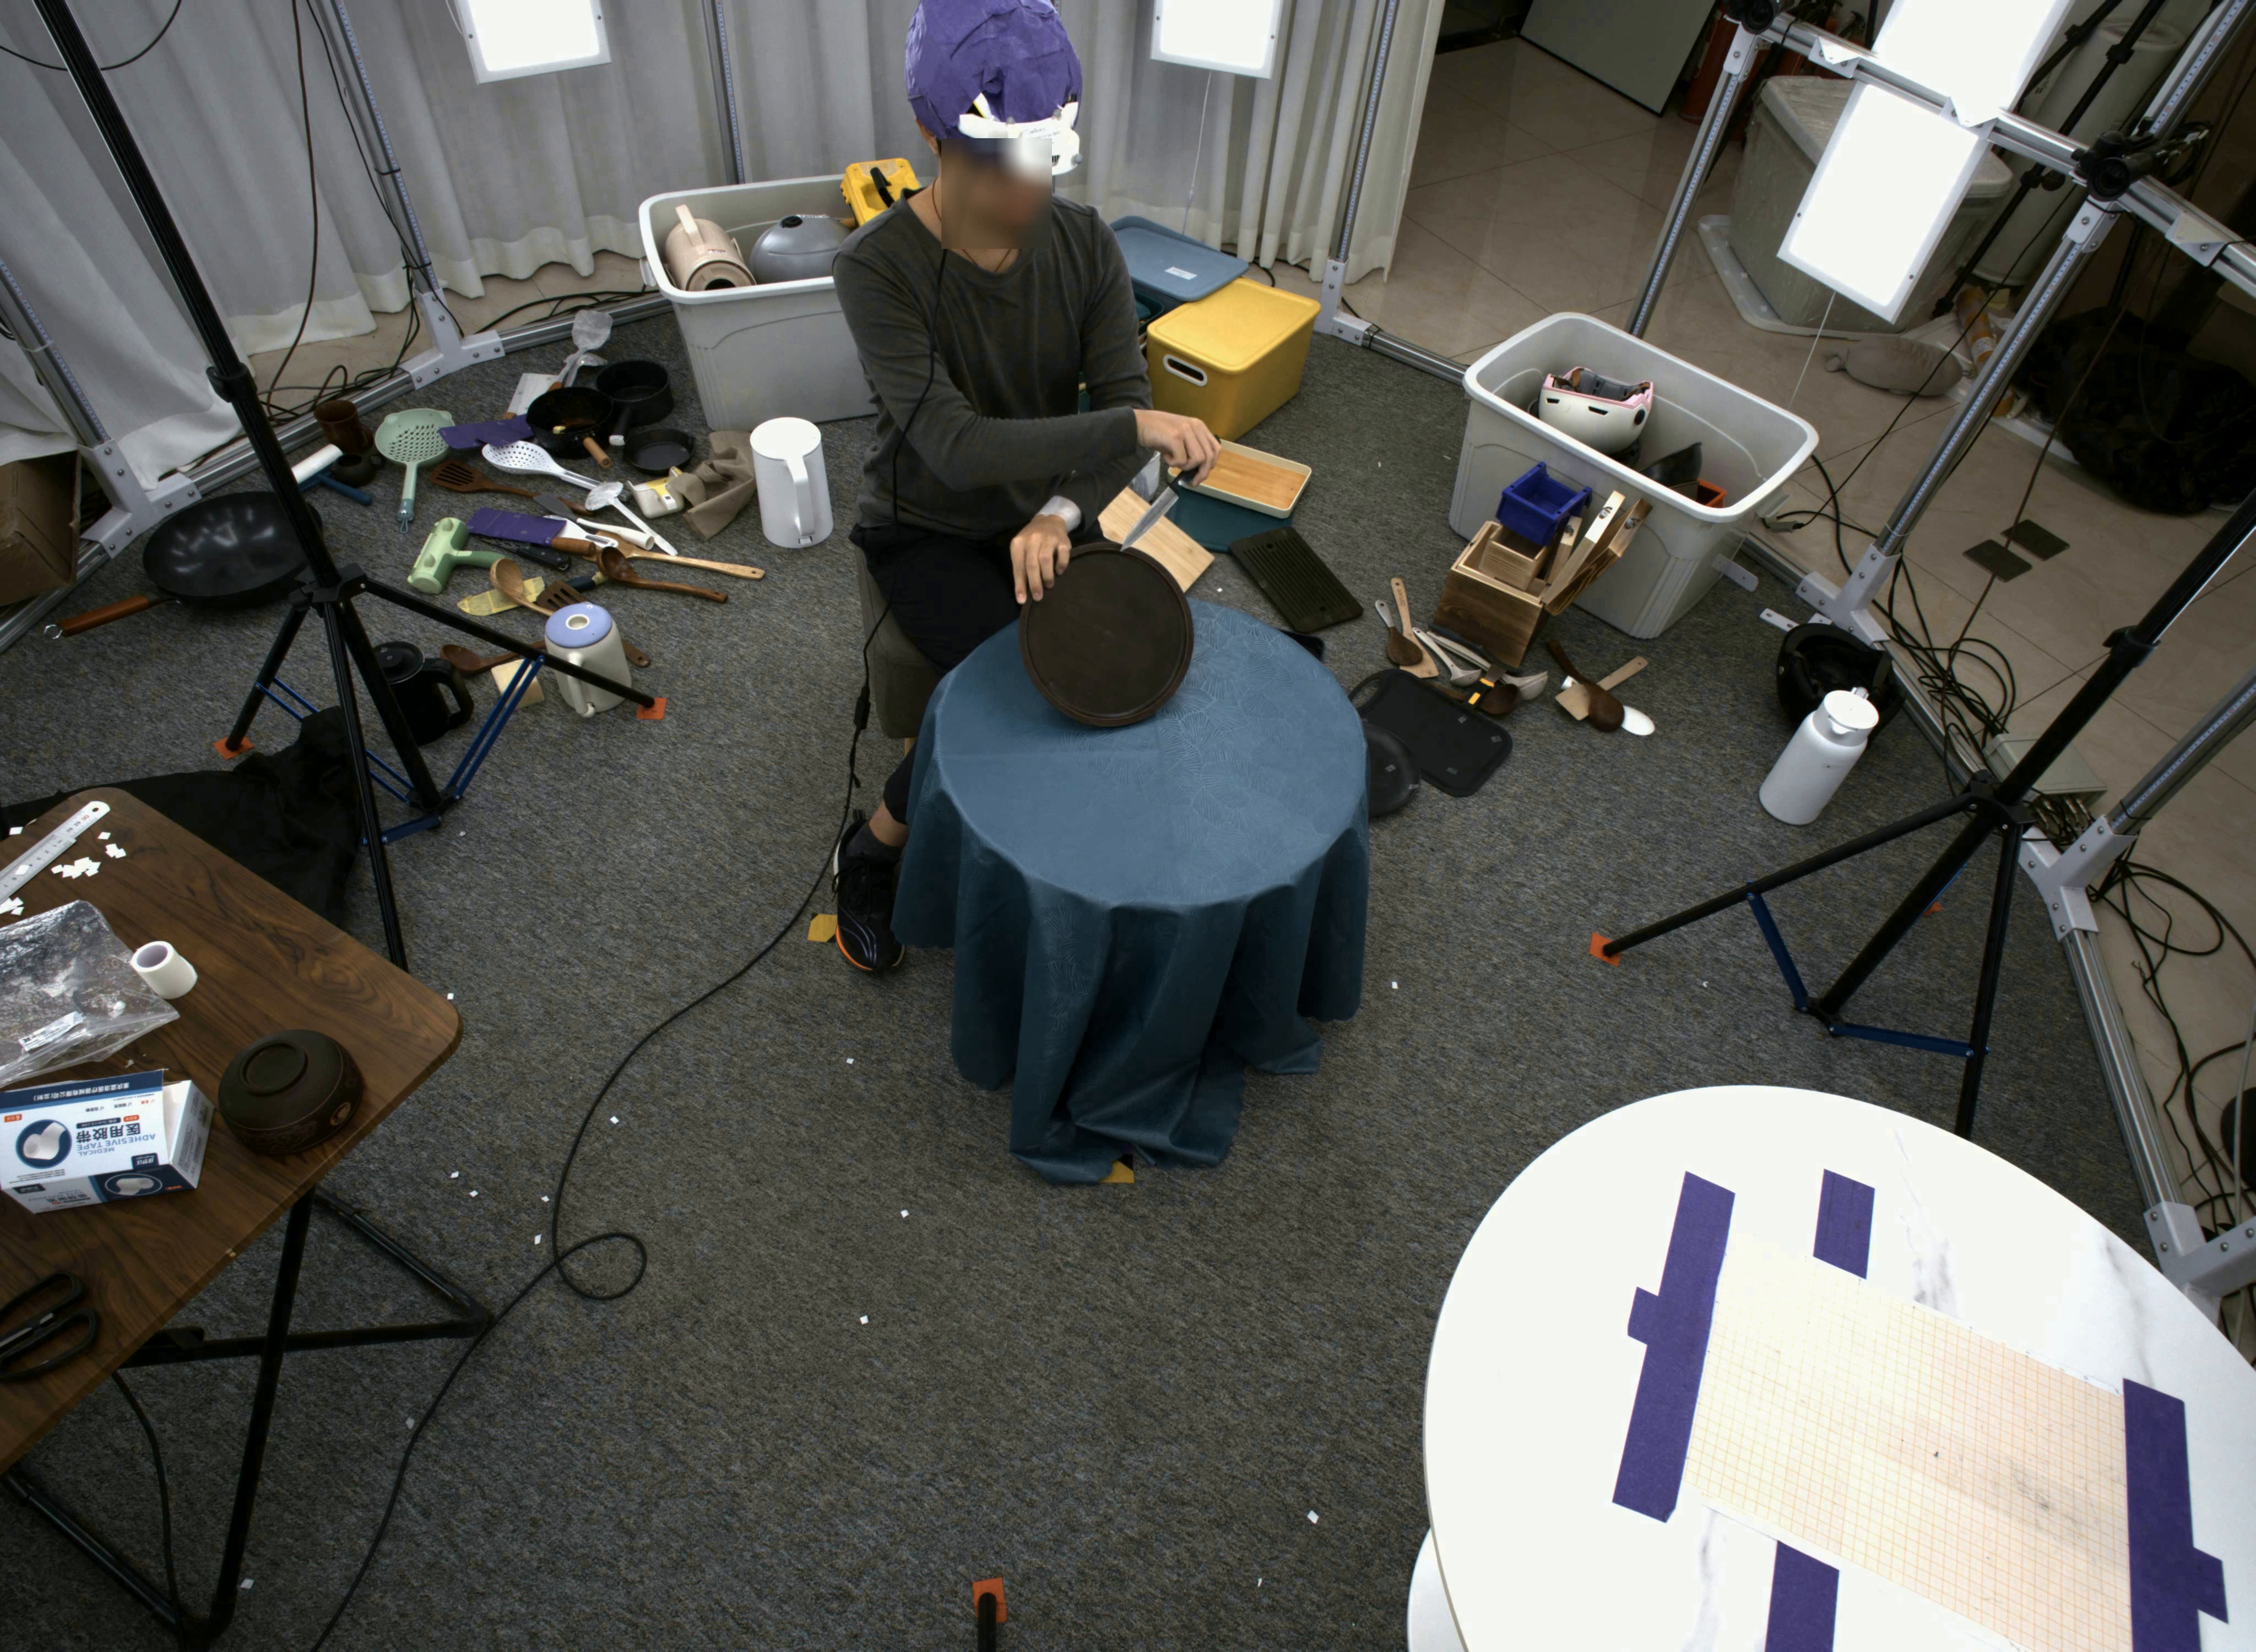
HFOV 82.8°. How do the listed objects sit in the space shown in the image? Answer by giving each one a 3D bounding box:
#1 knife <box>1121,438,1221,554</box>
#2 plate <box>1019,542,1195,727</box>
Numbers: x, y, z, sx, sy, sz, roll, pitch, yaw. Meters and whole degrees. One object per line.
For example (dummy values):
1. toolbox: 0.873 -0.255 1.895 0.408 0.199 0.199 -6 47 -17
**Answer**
1. knife: 0.058 -0.465 1.808 0.024 0.016 0.241 46 68 -21
2. plate: -0.029 -0.264 1.781 0.254 0.029 0.254 -1 91 -18
